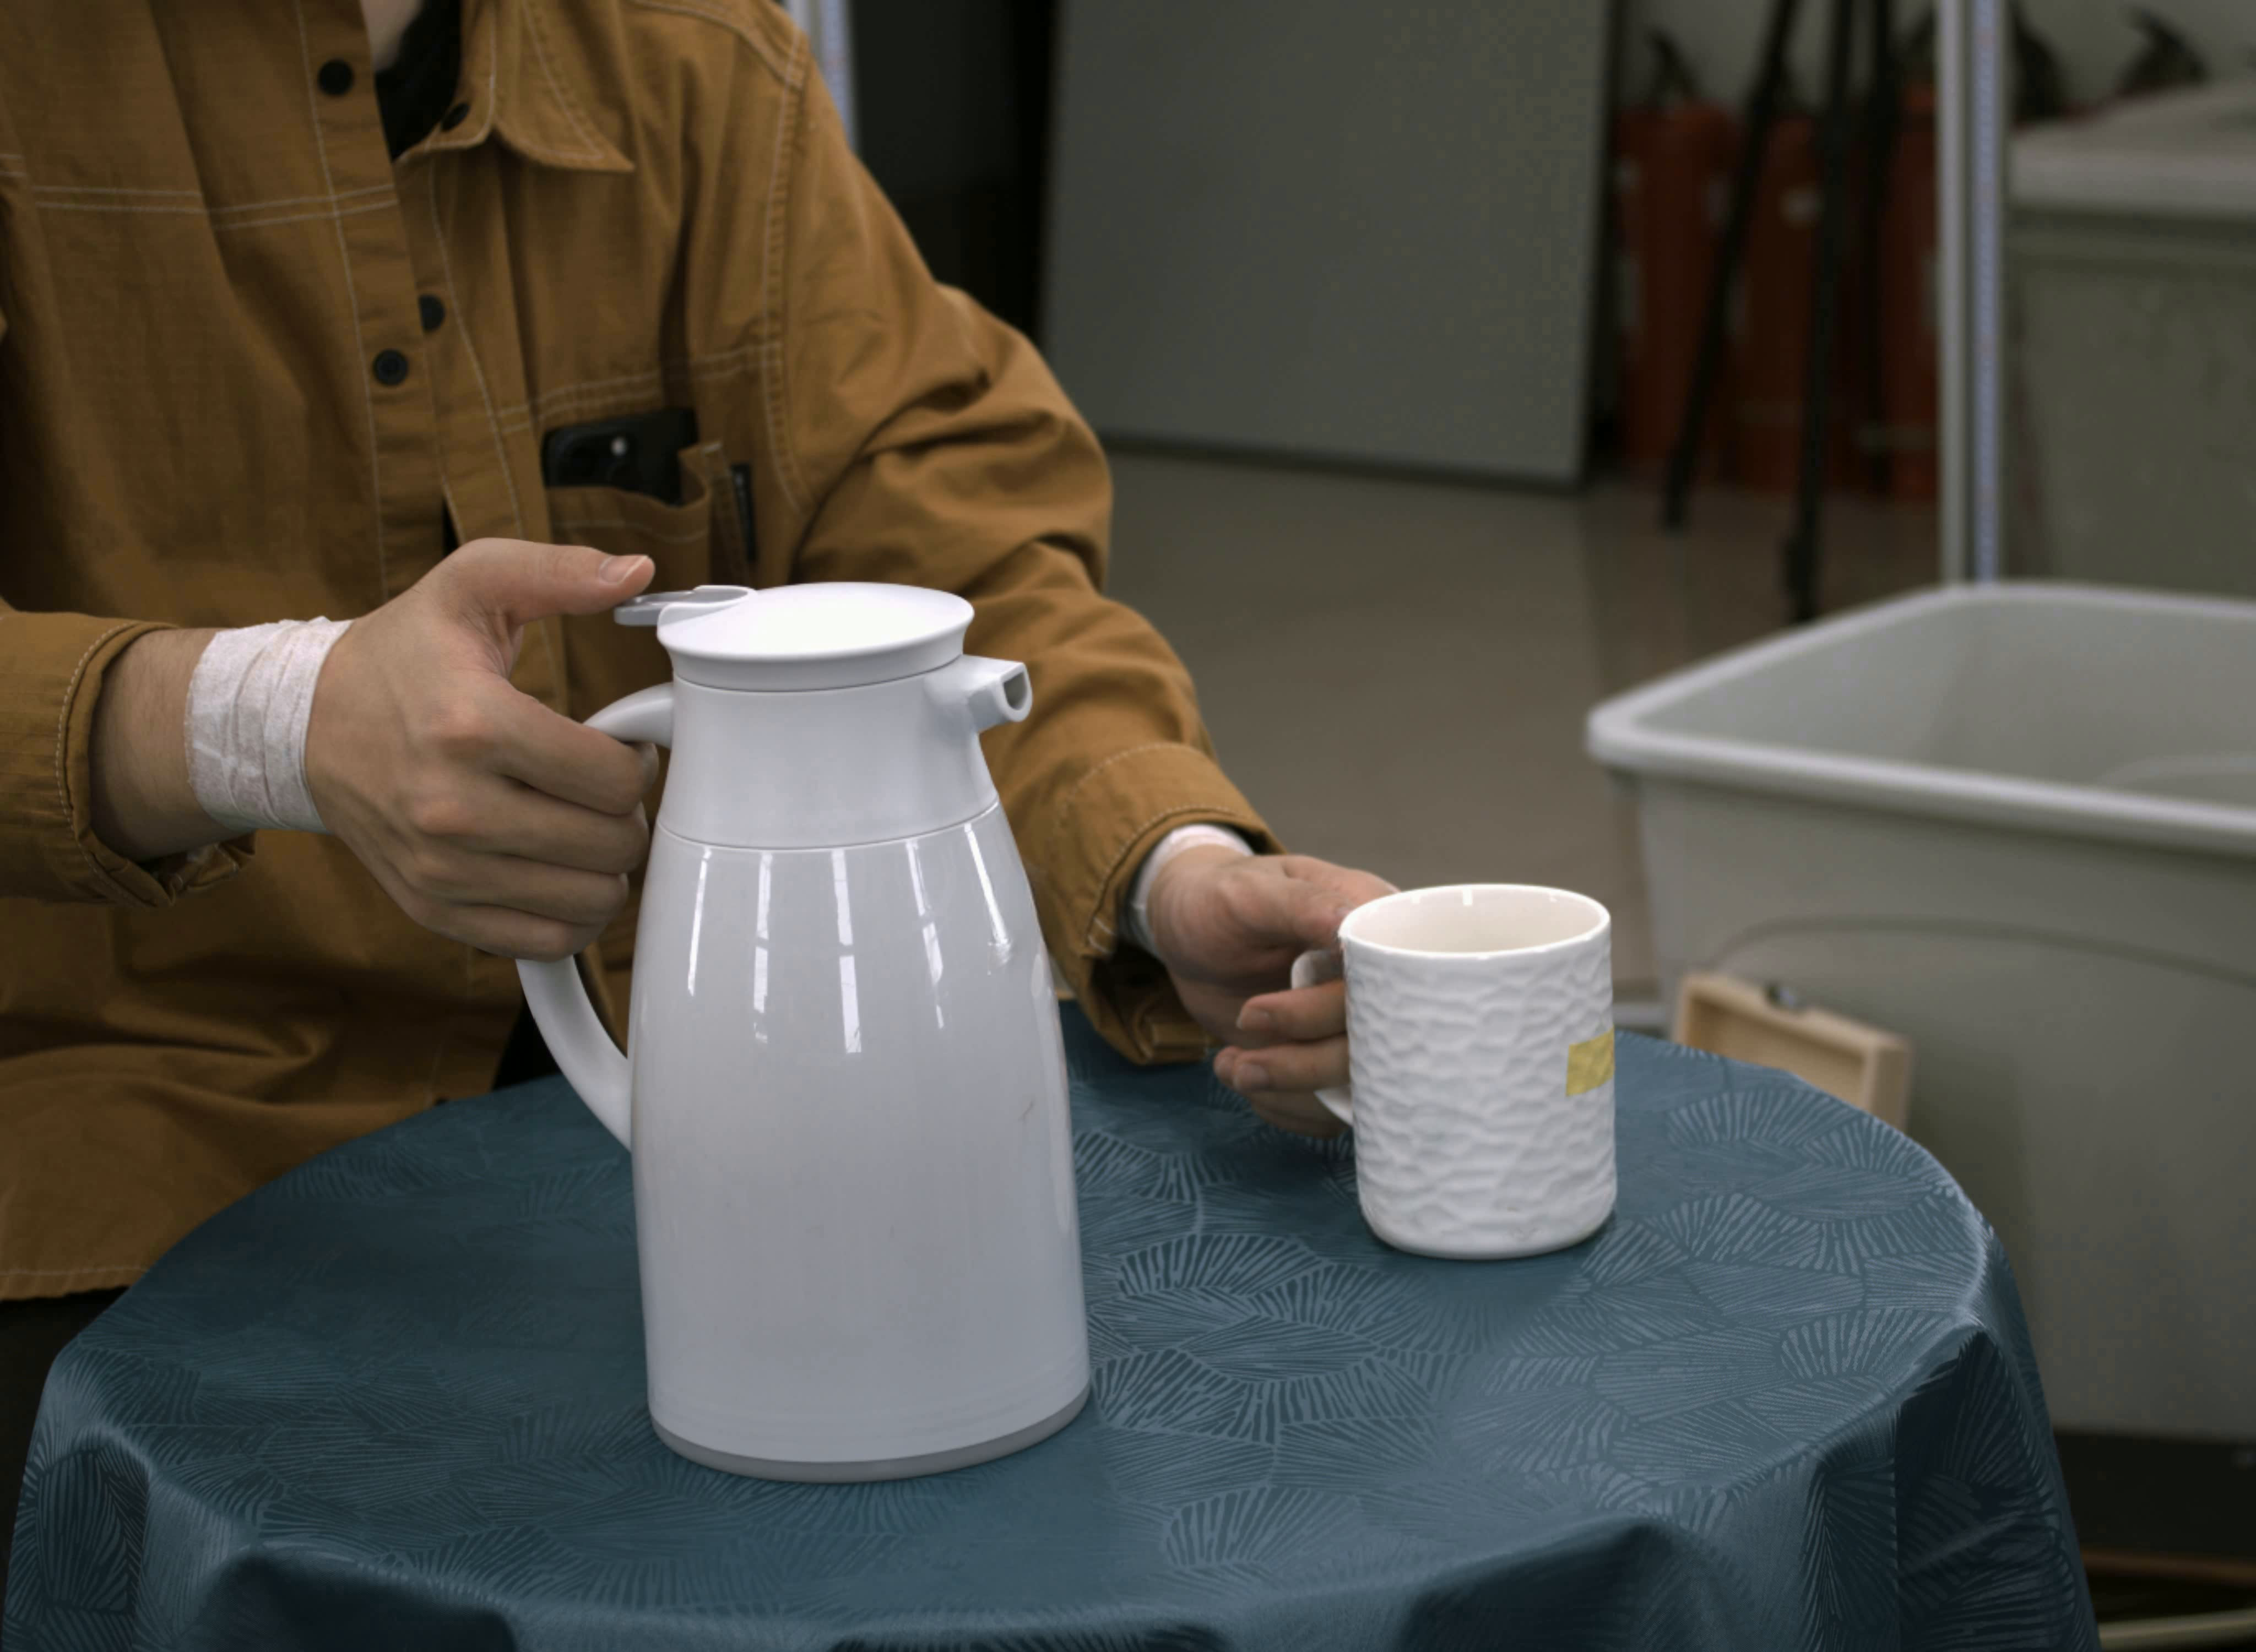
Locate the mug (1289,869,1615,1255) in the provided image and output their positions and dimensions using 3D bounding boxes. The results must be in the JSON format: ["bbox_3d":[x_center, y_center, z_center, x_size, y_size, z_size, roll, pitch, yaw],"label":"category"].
[{"bbox_3d":[0.100,0.073,1.715,0.119,0.103,0.083,10,20,41],"label":"mug"}]

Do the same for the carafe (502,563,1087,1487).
[{"bbox_3d":[-0.102,0.050,1.571,0.167,0.251,0.131,1,15,22],"label":"carafe"}]
